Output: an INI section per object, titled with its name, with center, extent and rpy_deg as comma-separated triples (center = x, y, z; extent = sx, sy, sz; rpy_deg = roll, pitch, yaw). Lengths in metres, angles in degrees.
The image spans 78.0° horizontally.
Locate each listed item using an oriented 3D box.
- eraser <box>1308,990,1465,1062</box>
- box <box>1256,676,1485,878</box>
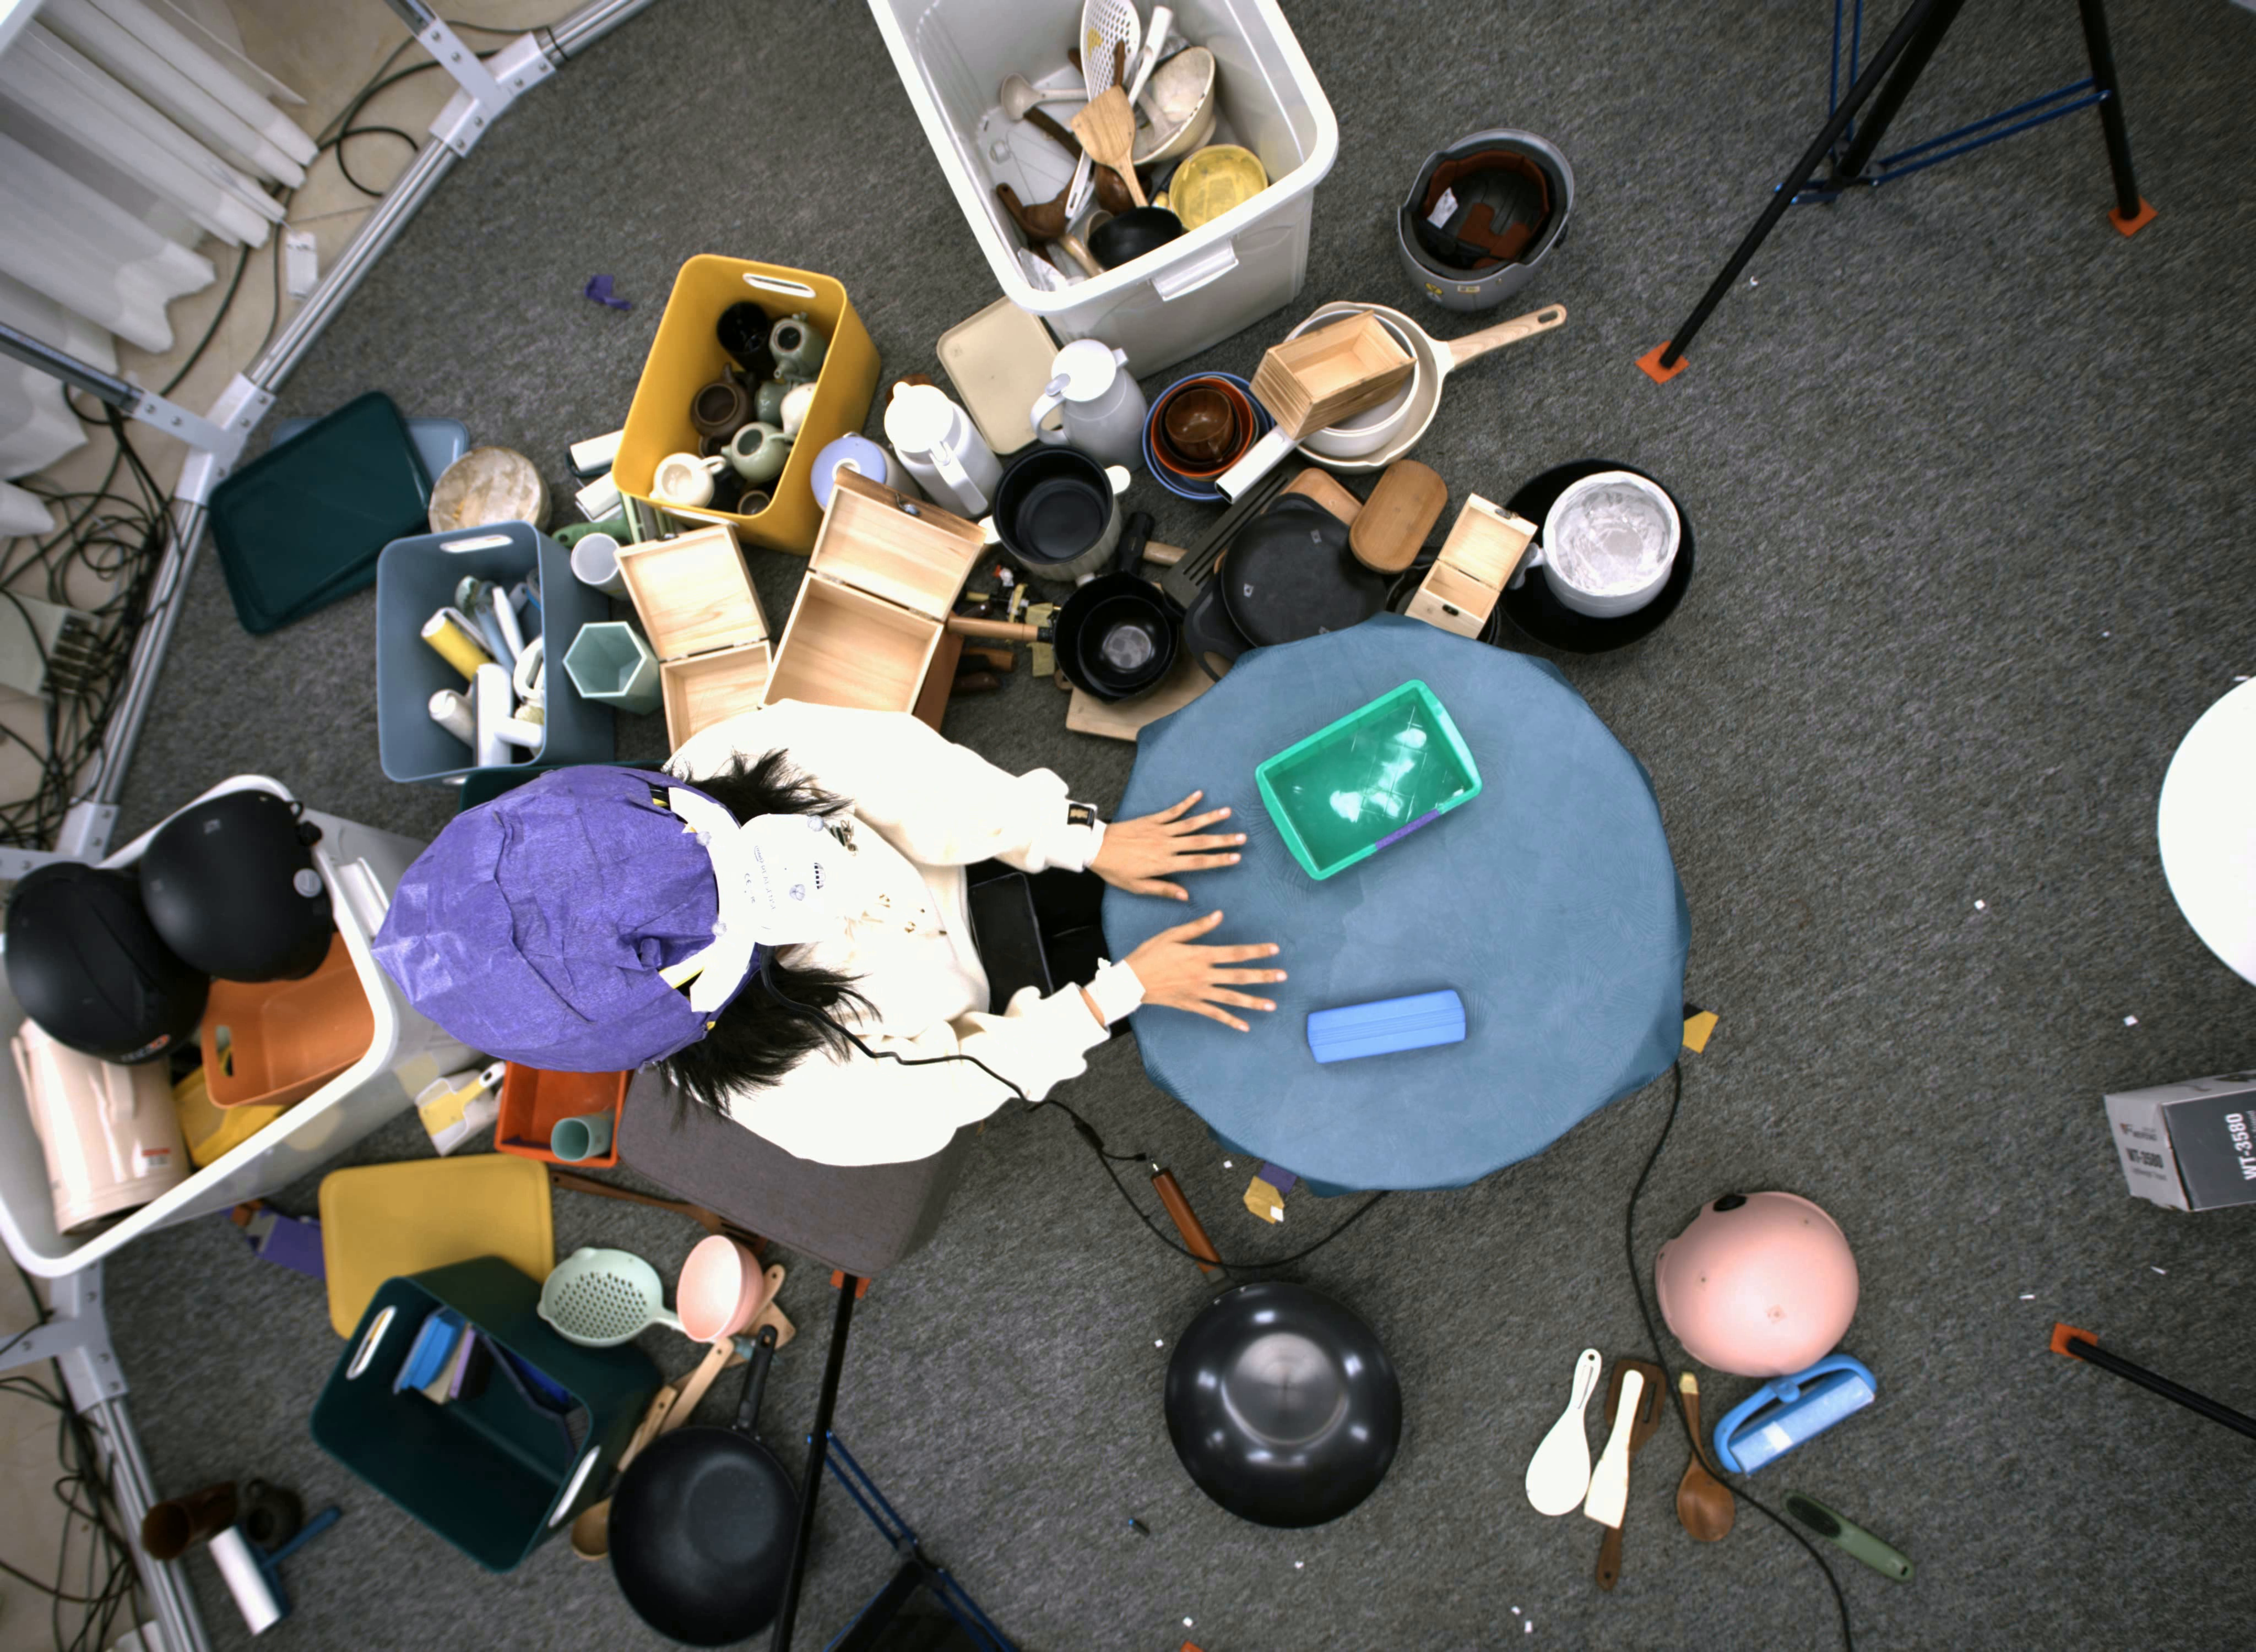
[eraser]
center = 0.267, 0.206, 1.430
extent = 0.163, 0.047, 0.053
rpy_deg = -11, 84, 9
[box]
center = 0.252, -0.050, 1.439
extent = 0.211, 0.065, 0.138
rpy_deg = -31, 84, 7
